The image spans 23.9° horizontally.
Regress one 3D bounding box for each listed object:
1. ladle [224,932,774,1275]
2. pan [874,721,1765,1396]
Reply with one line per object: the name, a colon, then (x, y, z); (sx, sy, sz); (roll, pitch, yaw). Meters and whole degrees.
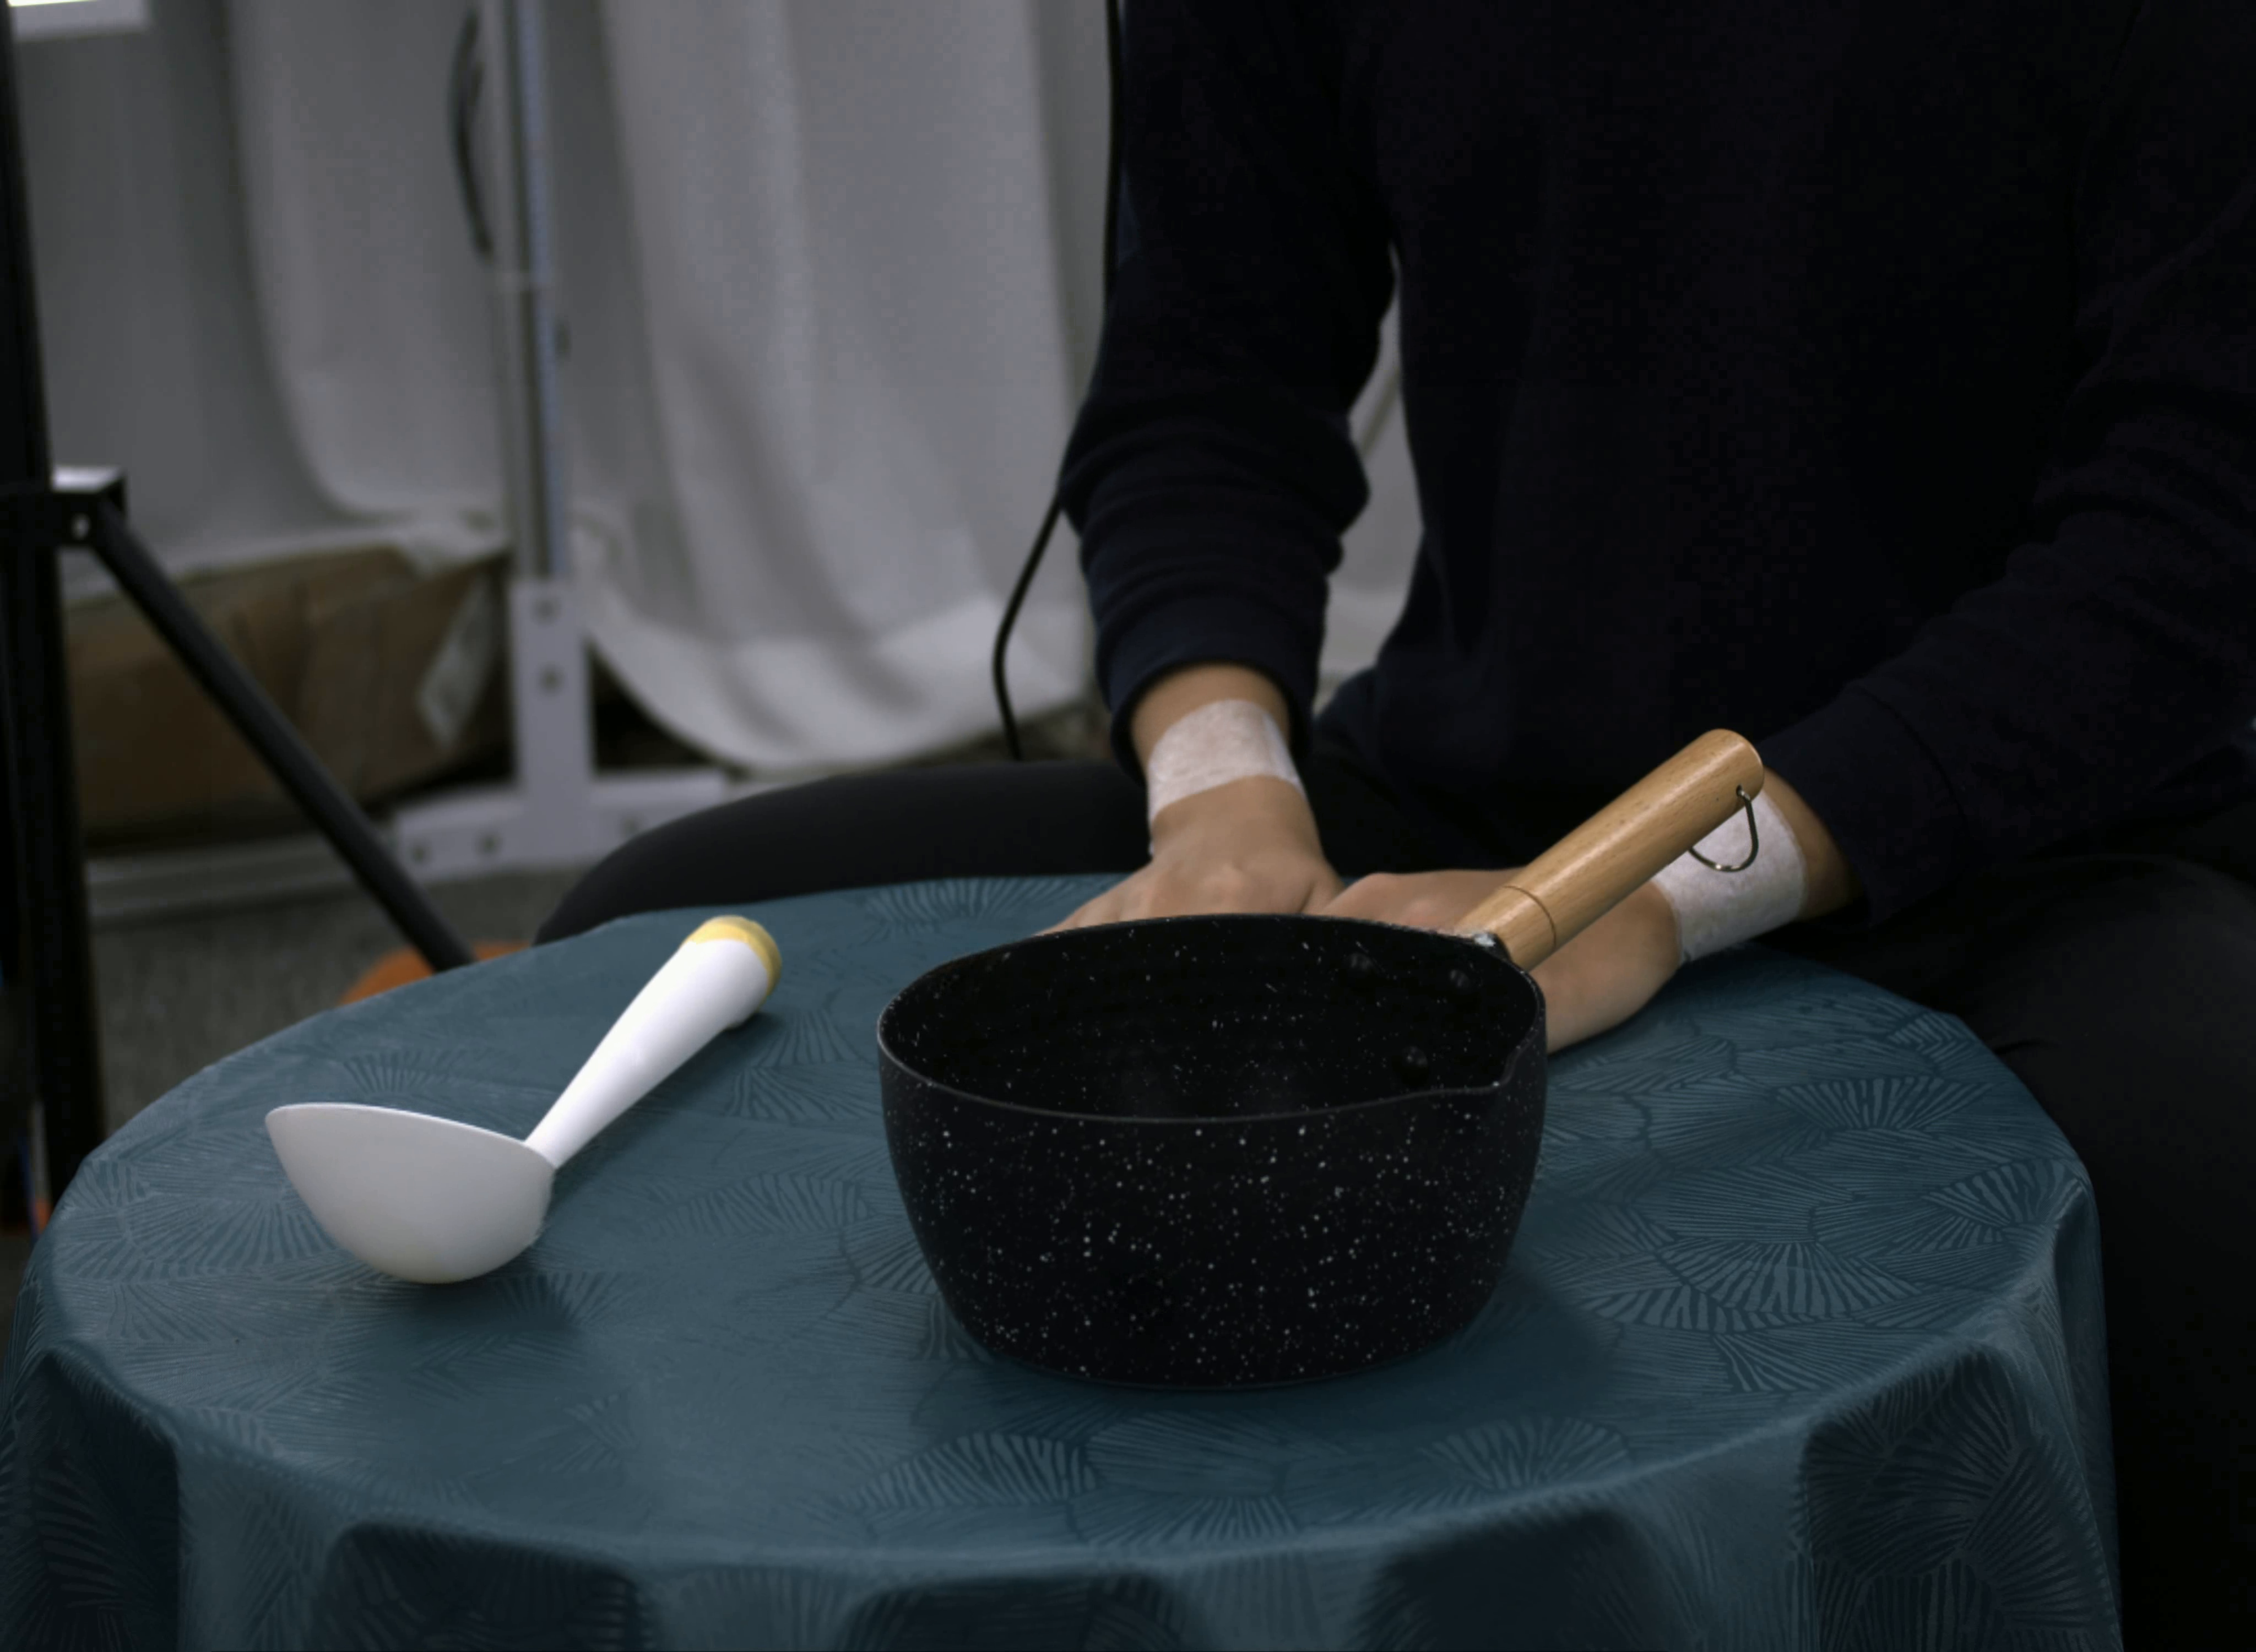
ladle: (-0.175, 0.069, 1.608); (0.091, 0.070, 0.290); (-3, 14, 19)
pan: (0.075, 0.061, 1.513); (0.212, 0.108, 0.335); (10, 21, 40)
